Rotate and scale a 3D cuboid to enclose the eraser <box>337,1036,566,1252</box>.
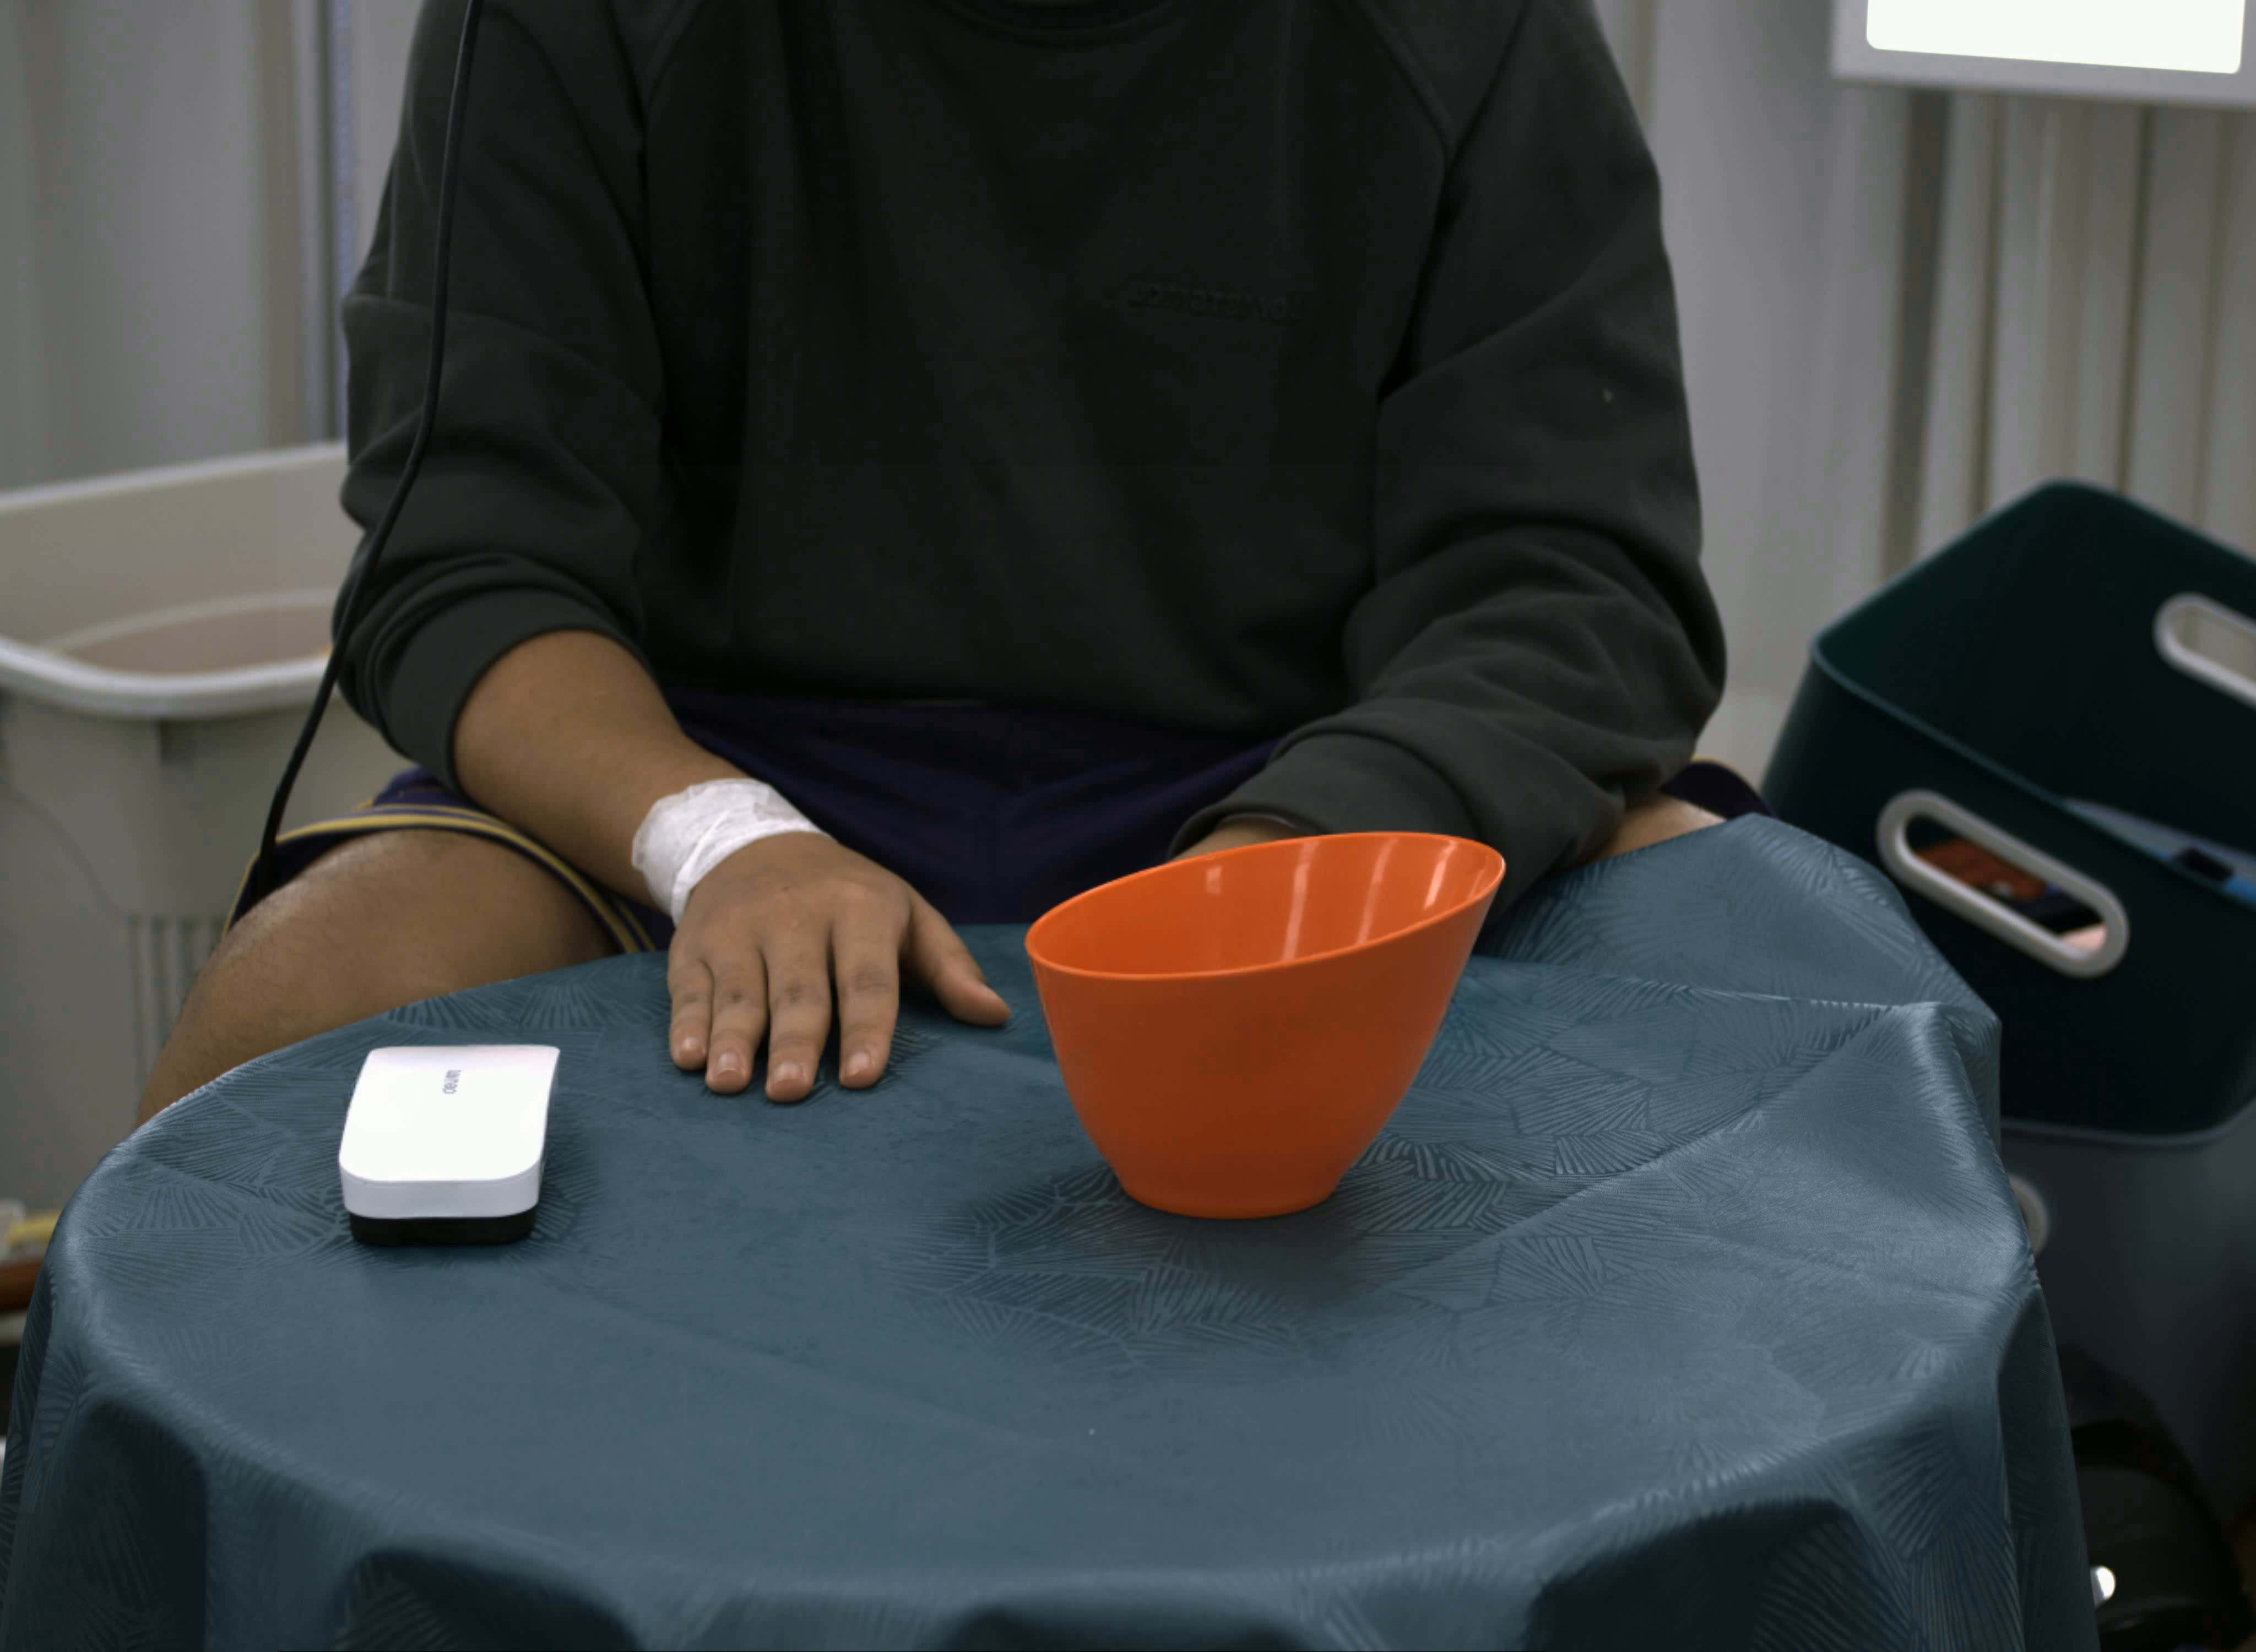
[{"bbox_3d":[-0.206,0.093,1.622,0.063,0.035,0.130,1,17,-1],"label":"eraser"}]

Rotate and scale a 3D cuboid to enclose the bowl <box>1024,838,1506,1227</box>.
[{"bbox_3d":[0.042,0.064,1.612,0.147,0.105,0.147,0,16,1],"label":"bowl"}]
